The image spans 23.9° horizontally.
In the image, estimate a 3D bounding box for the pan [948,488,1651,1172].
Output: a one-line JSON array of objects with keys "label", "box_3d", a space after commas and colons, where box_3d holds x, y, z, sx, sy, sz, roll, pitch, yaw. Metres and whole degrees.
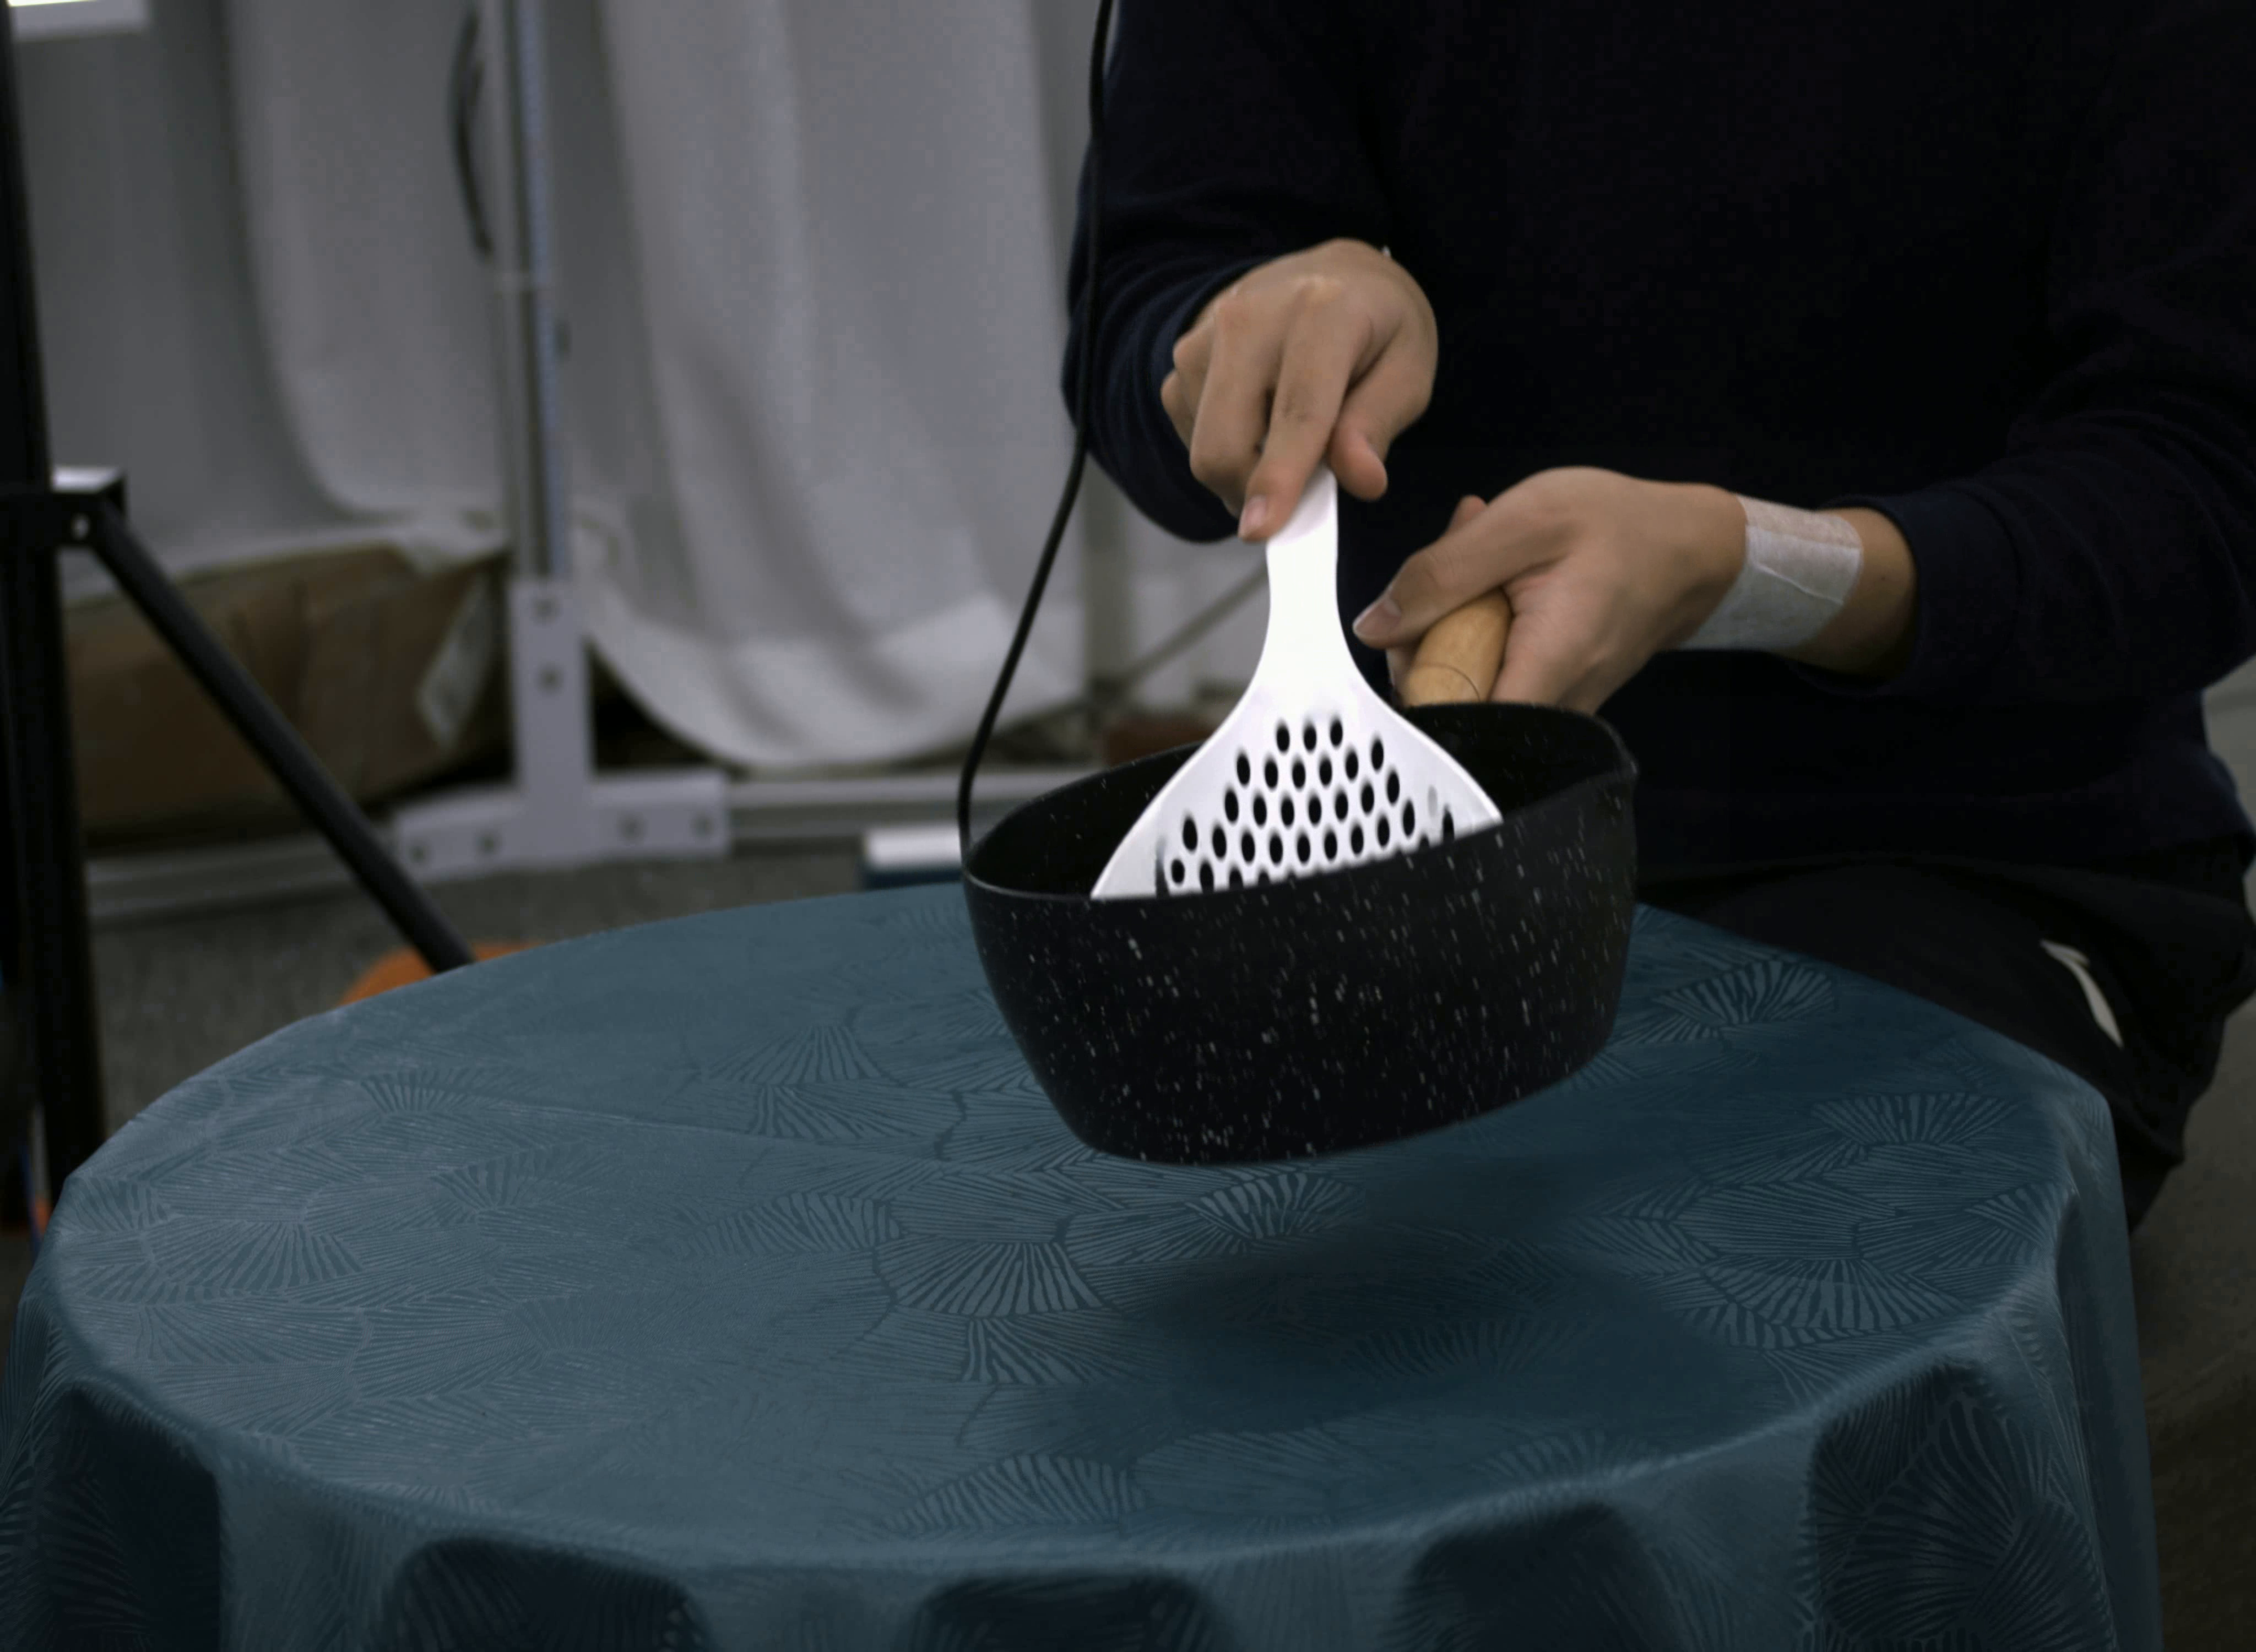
[{"label": "pan", "box_3d": [0.074, -0.004, 1.523, 0.210, 0.108, 0.339, -8, 14, 22]}]

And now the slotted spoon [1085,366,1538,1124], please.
[{"label": "slotted spoon", "box_3d": [0.049, -0.035, 1.524, 0.137, 0.049, 0.352, -10, 45, 9]}]
